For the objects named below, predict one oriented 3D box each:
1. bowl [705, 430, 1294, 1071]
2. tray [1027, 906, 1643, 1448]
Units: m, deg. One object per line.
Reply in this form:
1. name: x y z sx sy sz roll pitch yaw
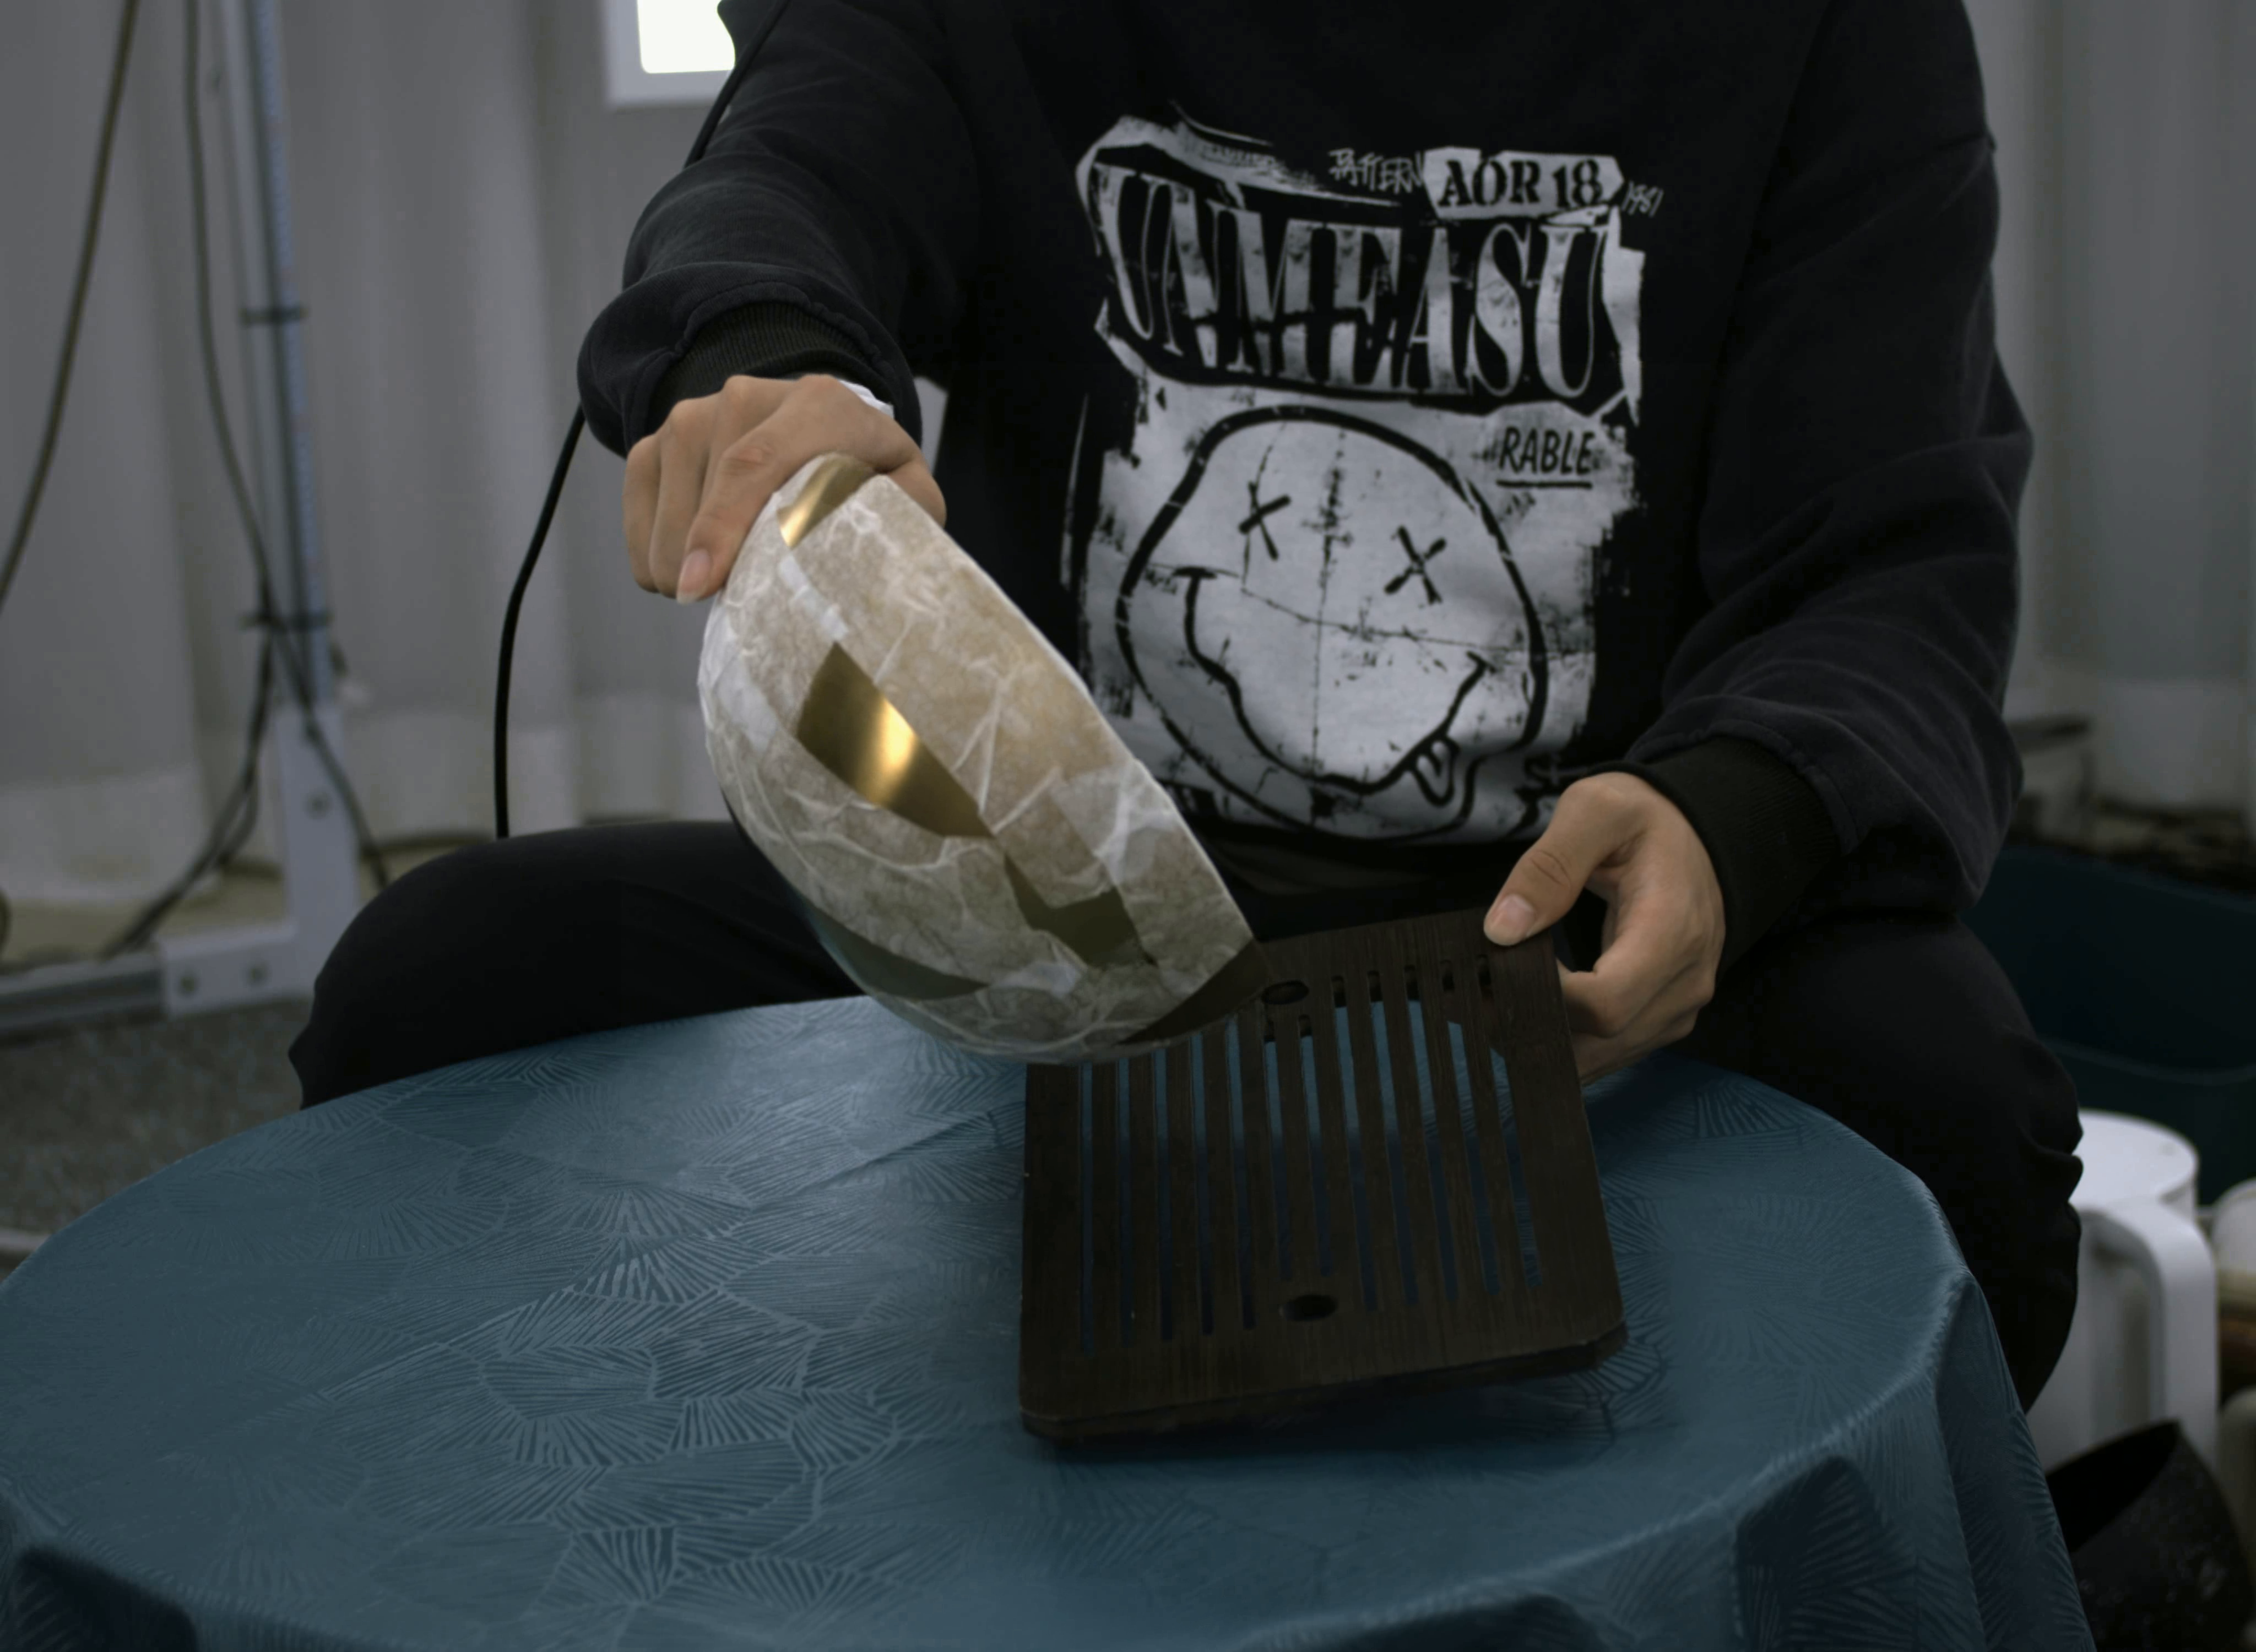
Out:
1. bowl: -0.055 -0.001 1.563 0.094 0.213 0.216 -40 23 -7
2. tray: 0.056 0.101 1.625 0.169 0.018 0.309 -9 22 3
